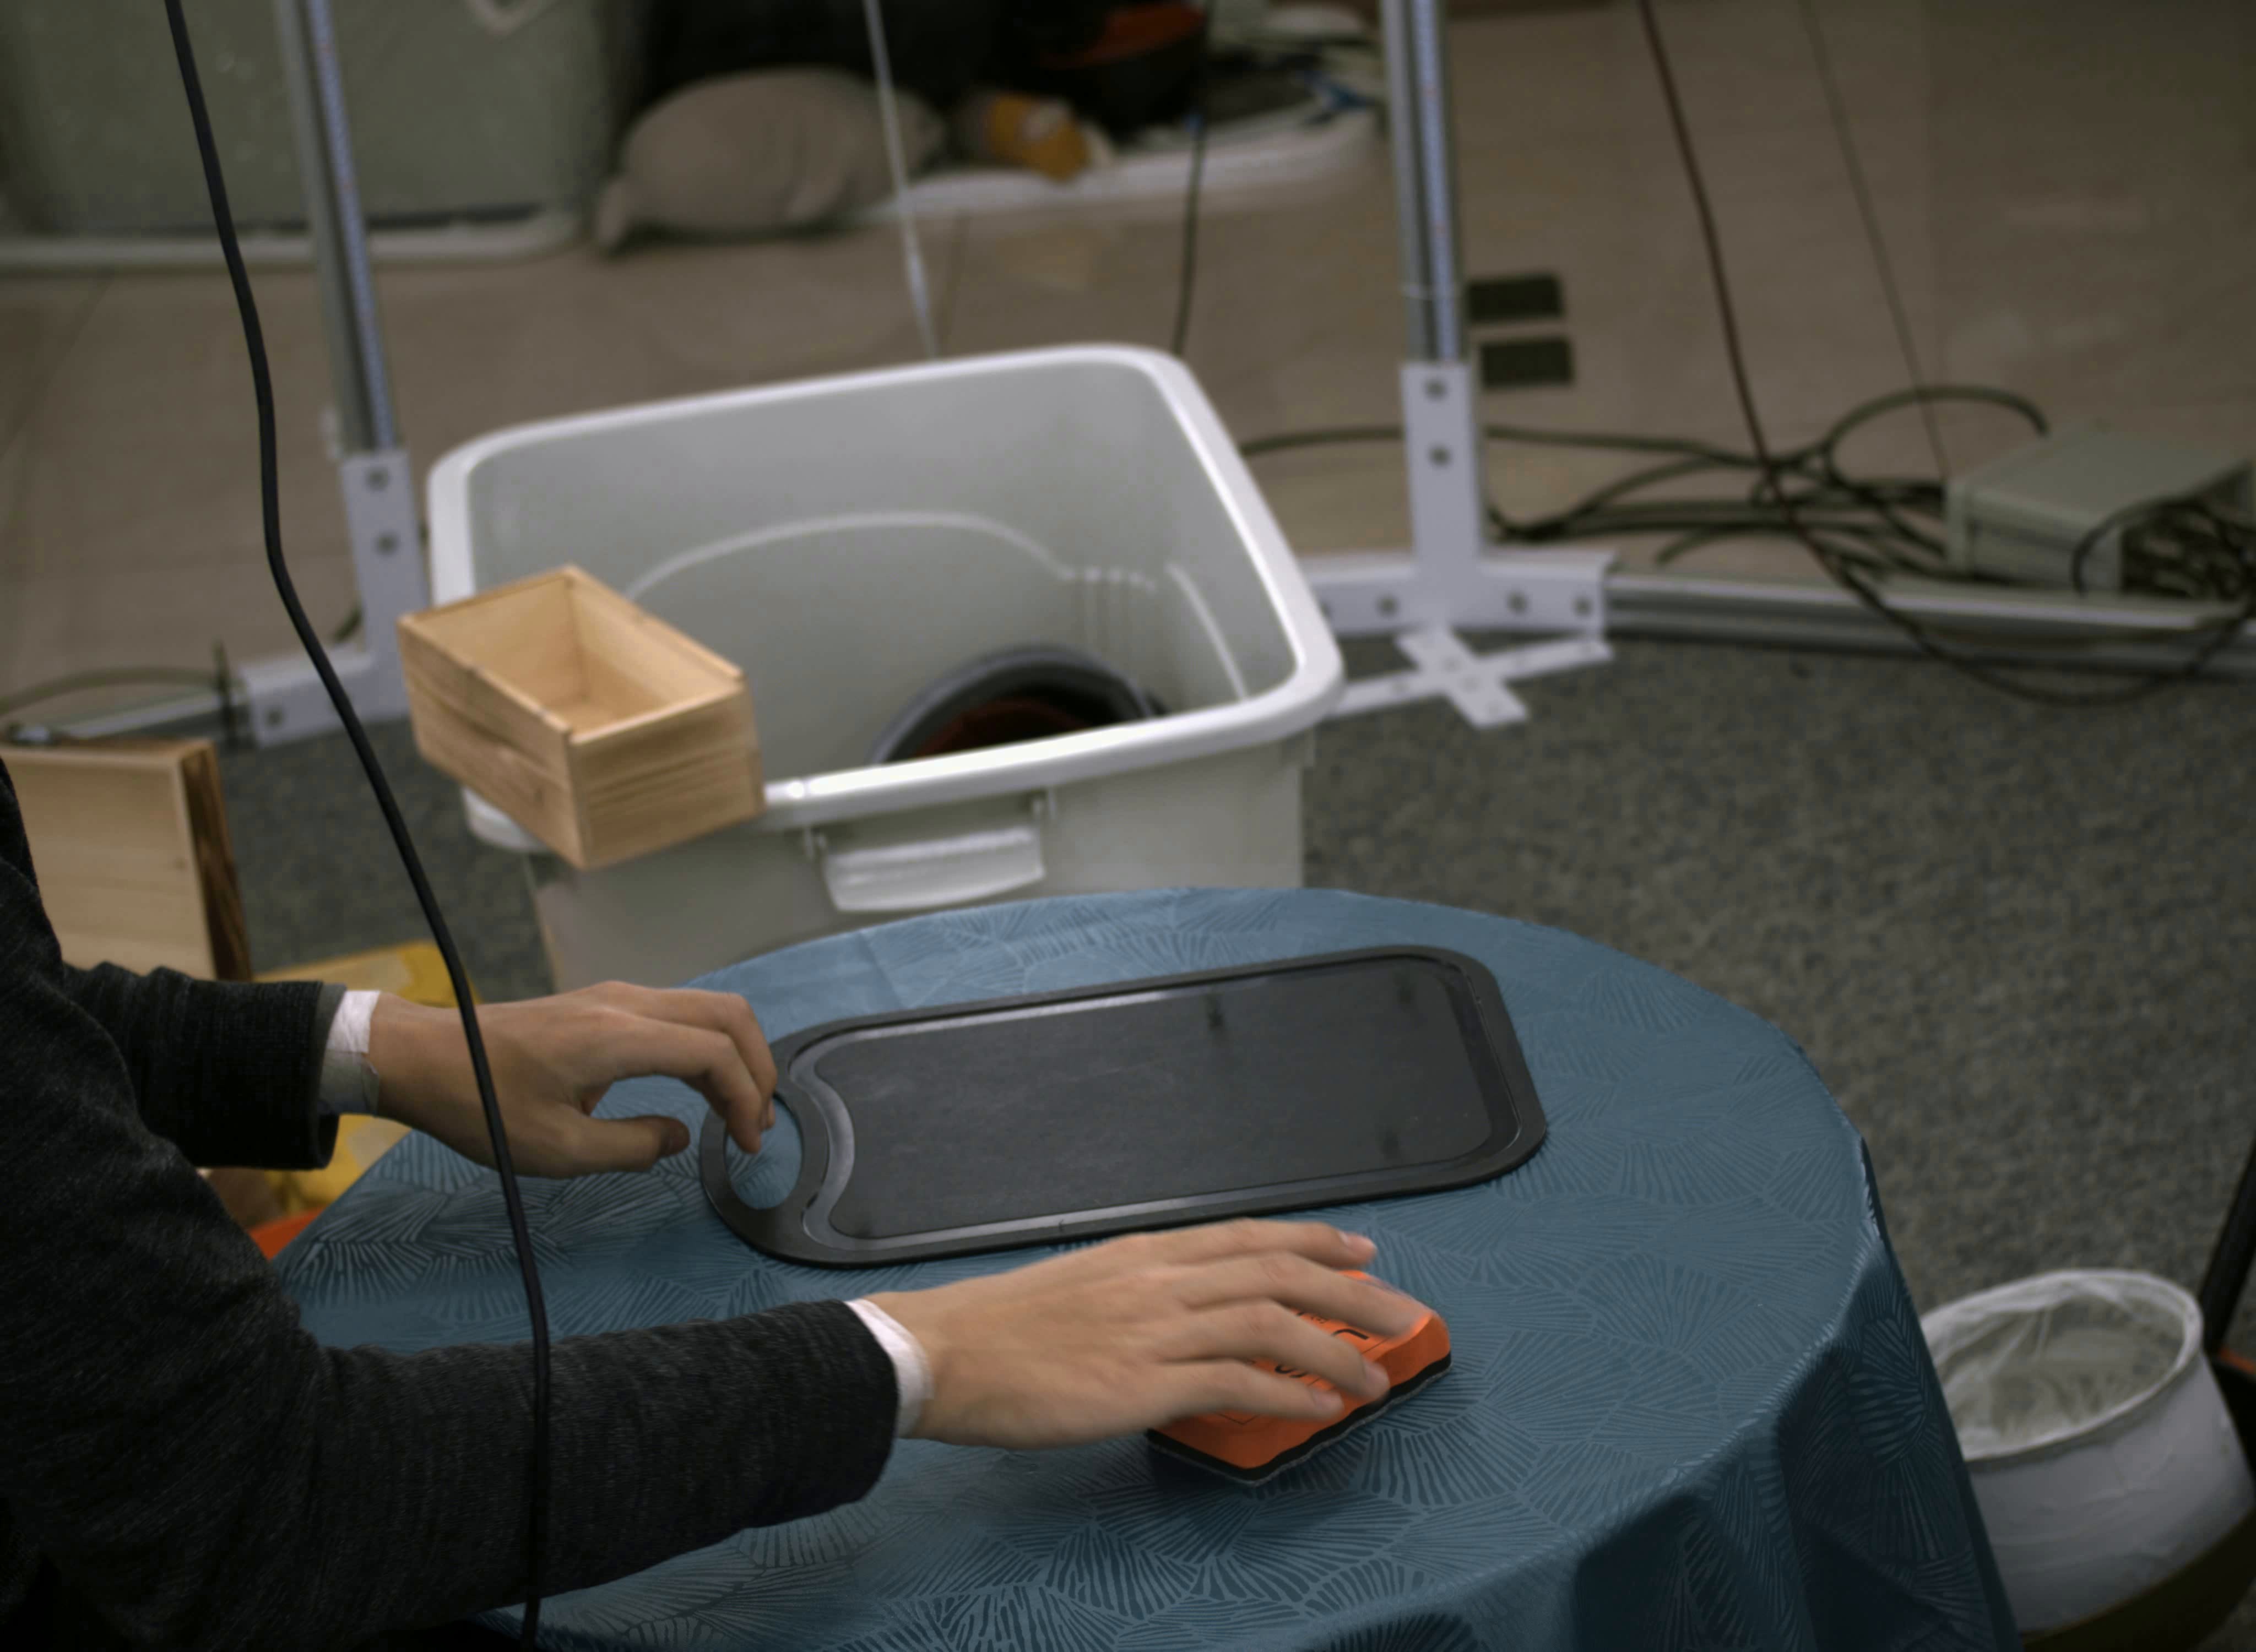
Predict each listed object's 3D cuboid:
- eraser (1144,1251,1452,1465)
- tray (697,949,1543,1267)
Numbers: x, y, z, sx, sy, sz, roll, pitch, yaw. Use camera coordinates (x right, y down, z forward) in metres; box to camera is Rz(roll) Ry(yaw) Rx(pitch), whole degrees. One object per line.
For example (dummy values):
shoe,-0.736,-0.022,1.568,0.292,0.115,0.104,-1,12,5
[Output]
eraser,0.060,0.186,1.988,0.107,0.023,0.058,-27,31,-37
tray,-0.007,0.107,2.210,0.325,0.010,0.208,-7,24,-1
